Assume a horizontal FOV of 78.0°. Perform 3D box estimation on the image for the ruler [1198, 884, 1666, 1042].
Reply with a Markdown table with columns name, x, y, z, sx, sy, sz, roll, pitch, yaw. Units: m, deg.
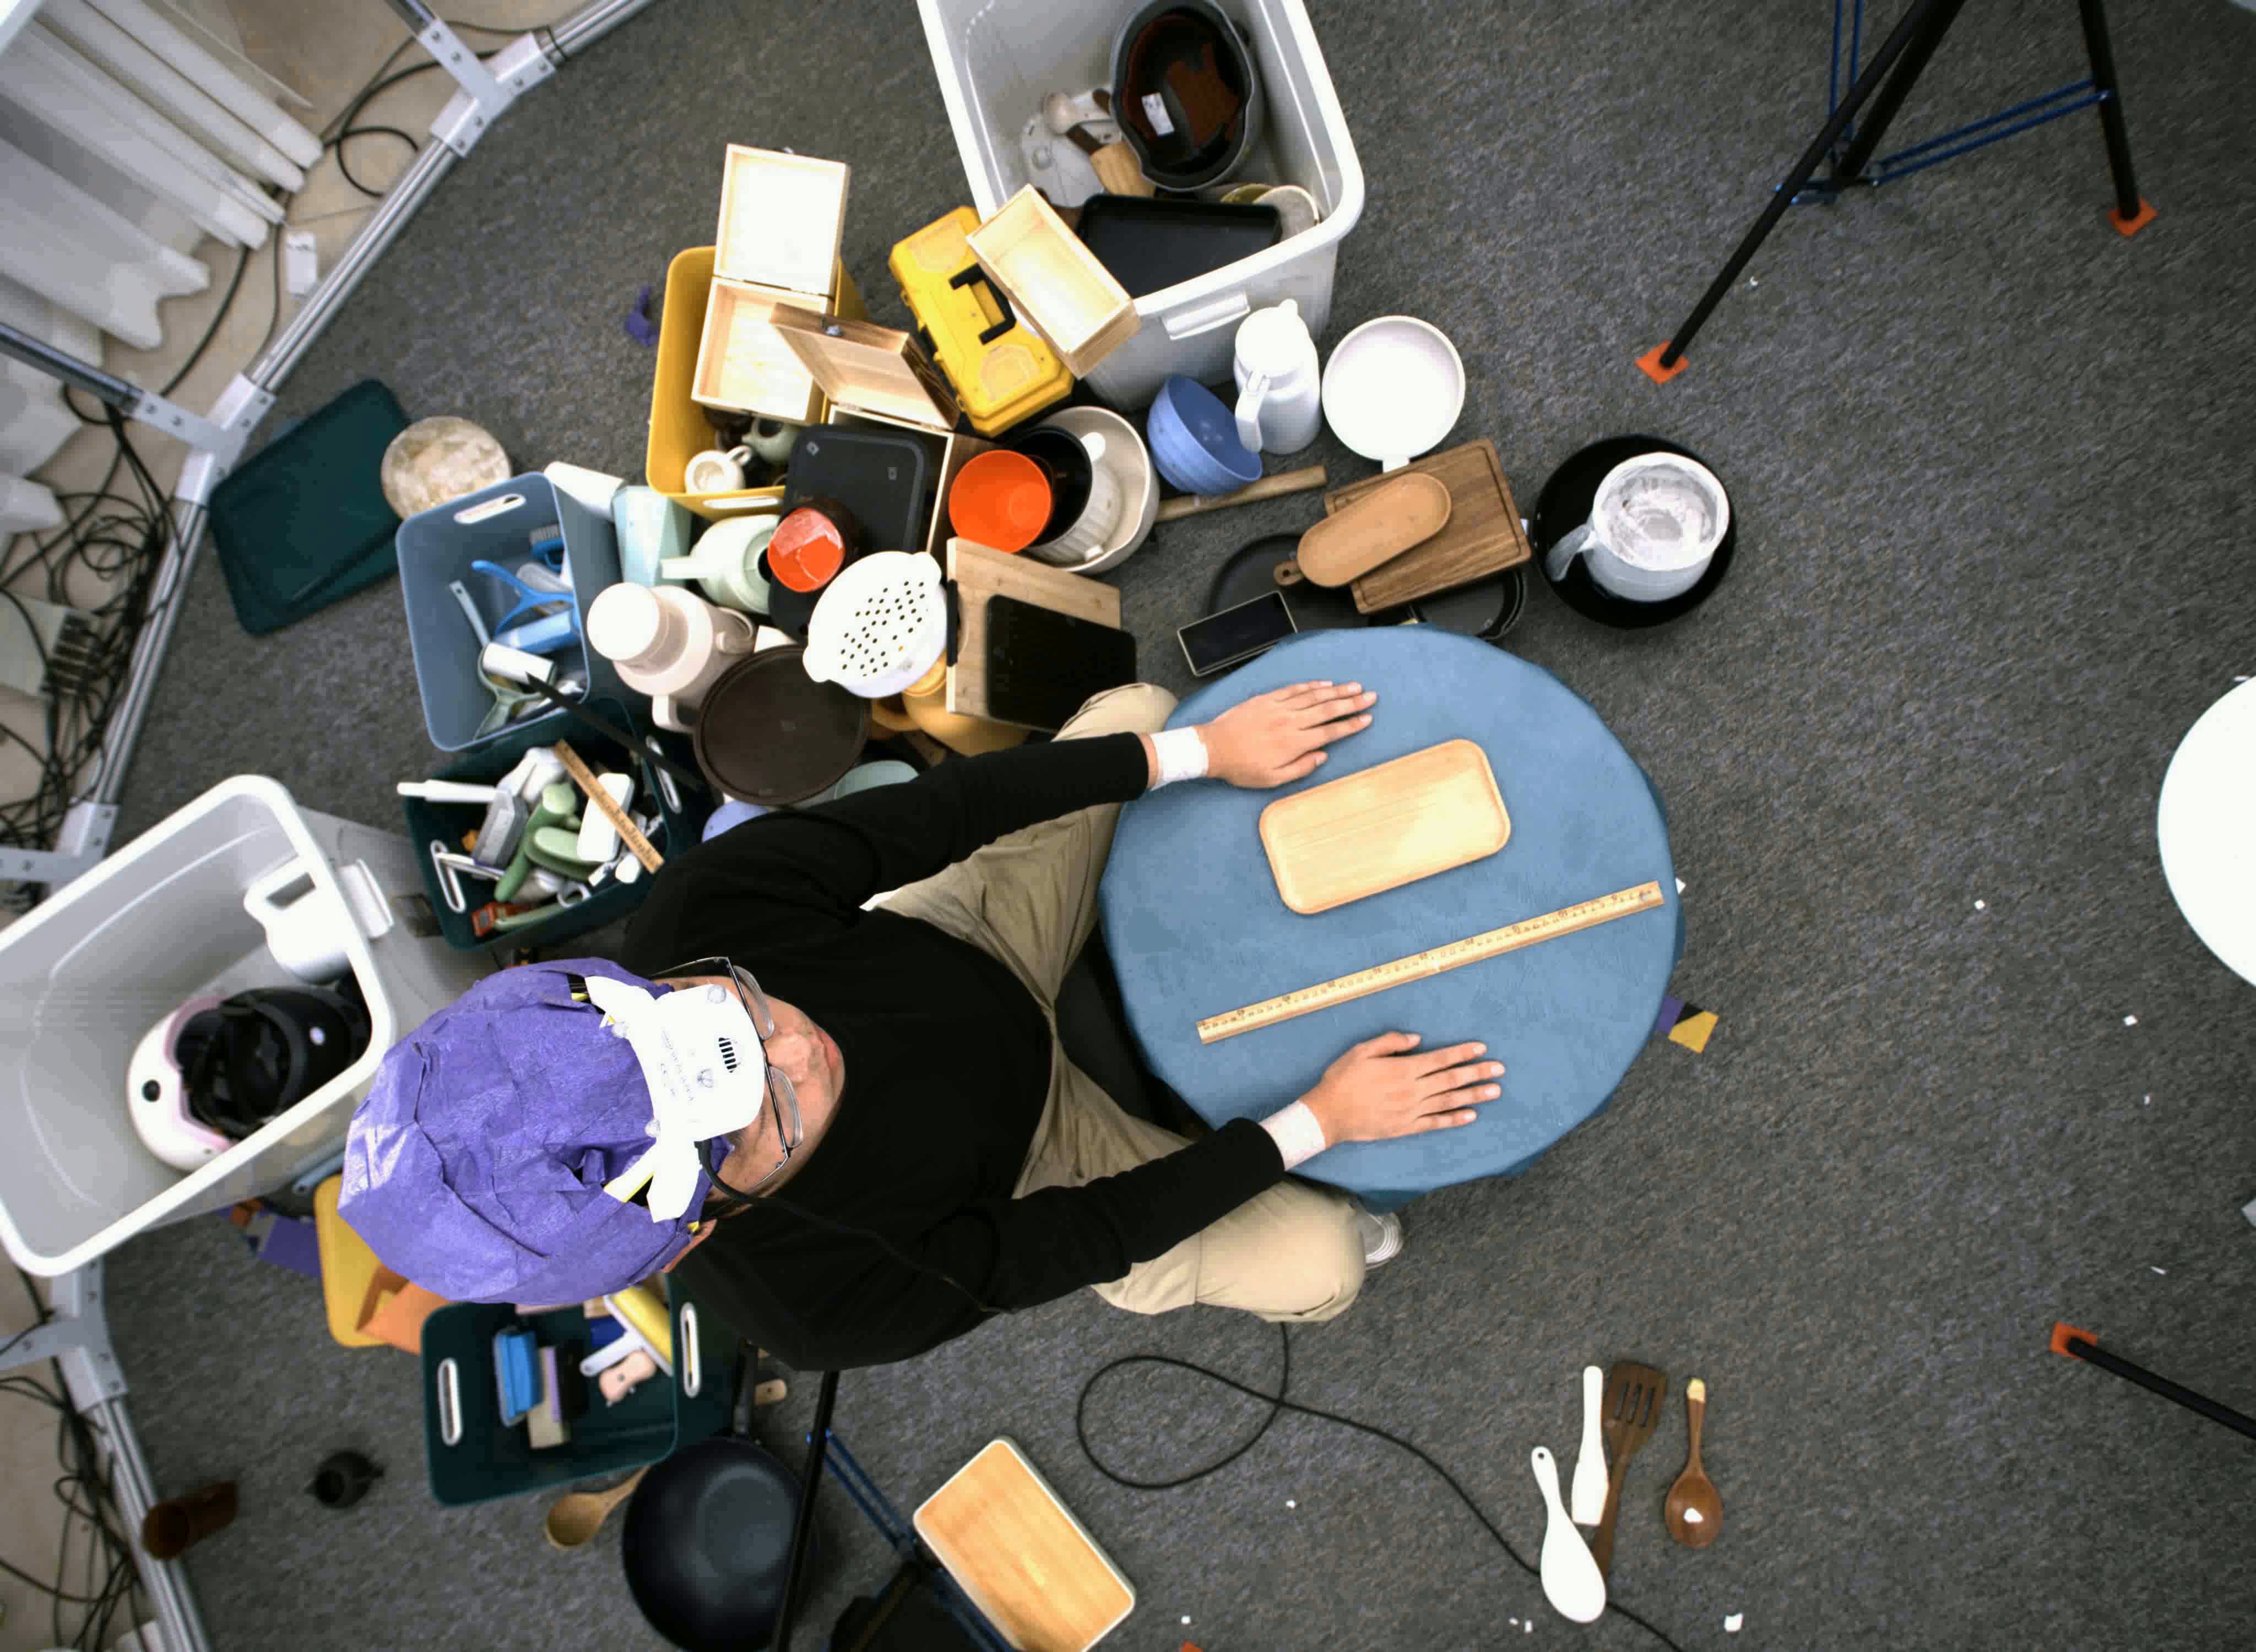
| name | x | y | z | sx | sy | sz | roll | pitch | yaw |
| --- | --- | --- | --- | --- | --- | --- | --- | --- | --- |
| ruler | 0.312 | 0.142 | 1.446 | 0.503 | 0.006 | 0.026 | -18 | 81 | 9 |

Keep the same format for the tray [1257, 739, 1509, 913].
| name | x | y | z | sx | sy | sz | roll | pitch | yaw |
| --- | --- | --- | --- | --- | --- | --- | --- | --- | --- |
| tray | 0.268 | 0.000 | 1.456 | 0.252 | 0.023 | 0.129 | -18 | 82 | 10 |
